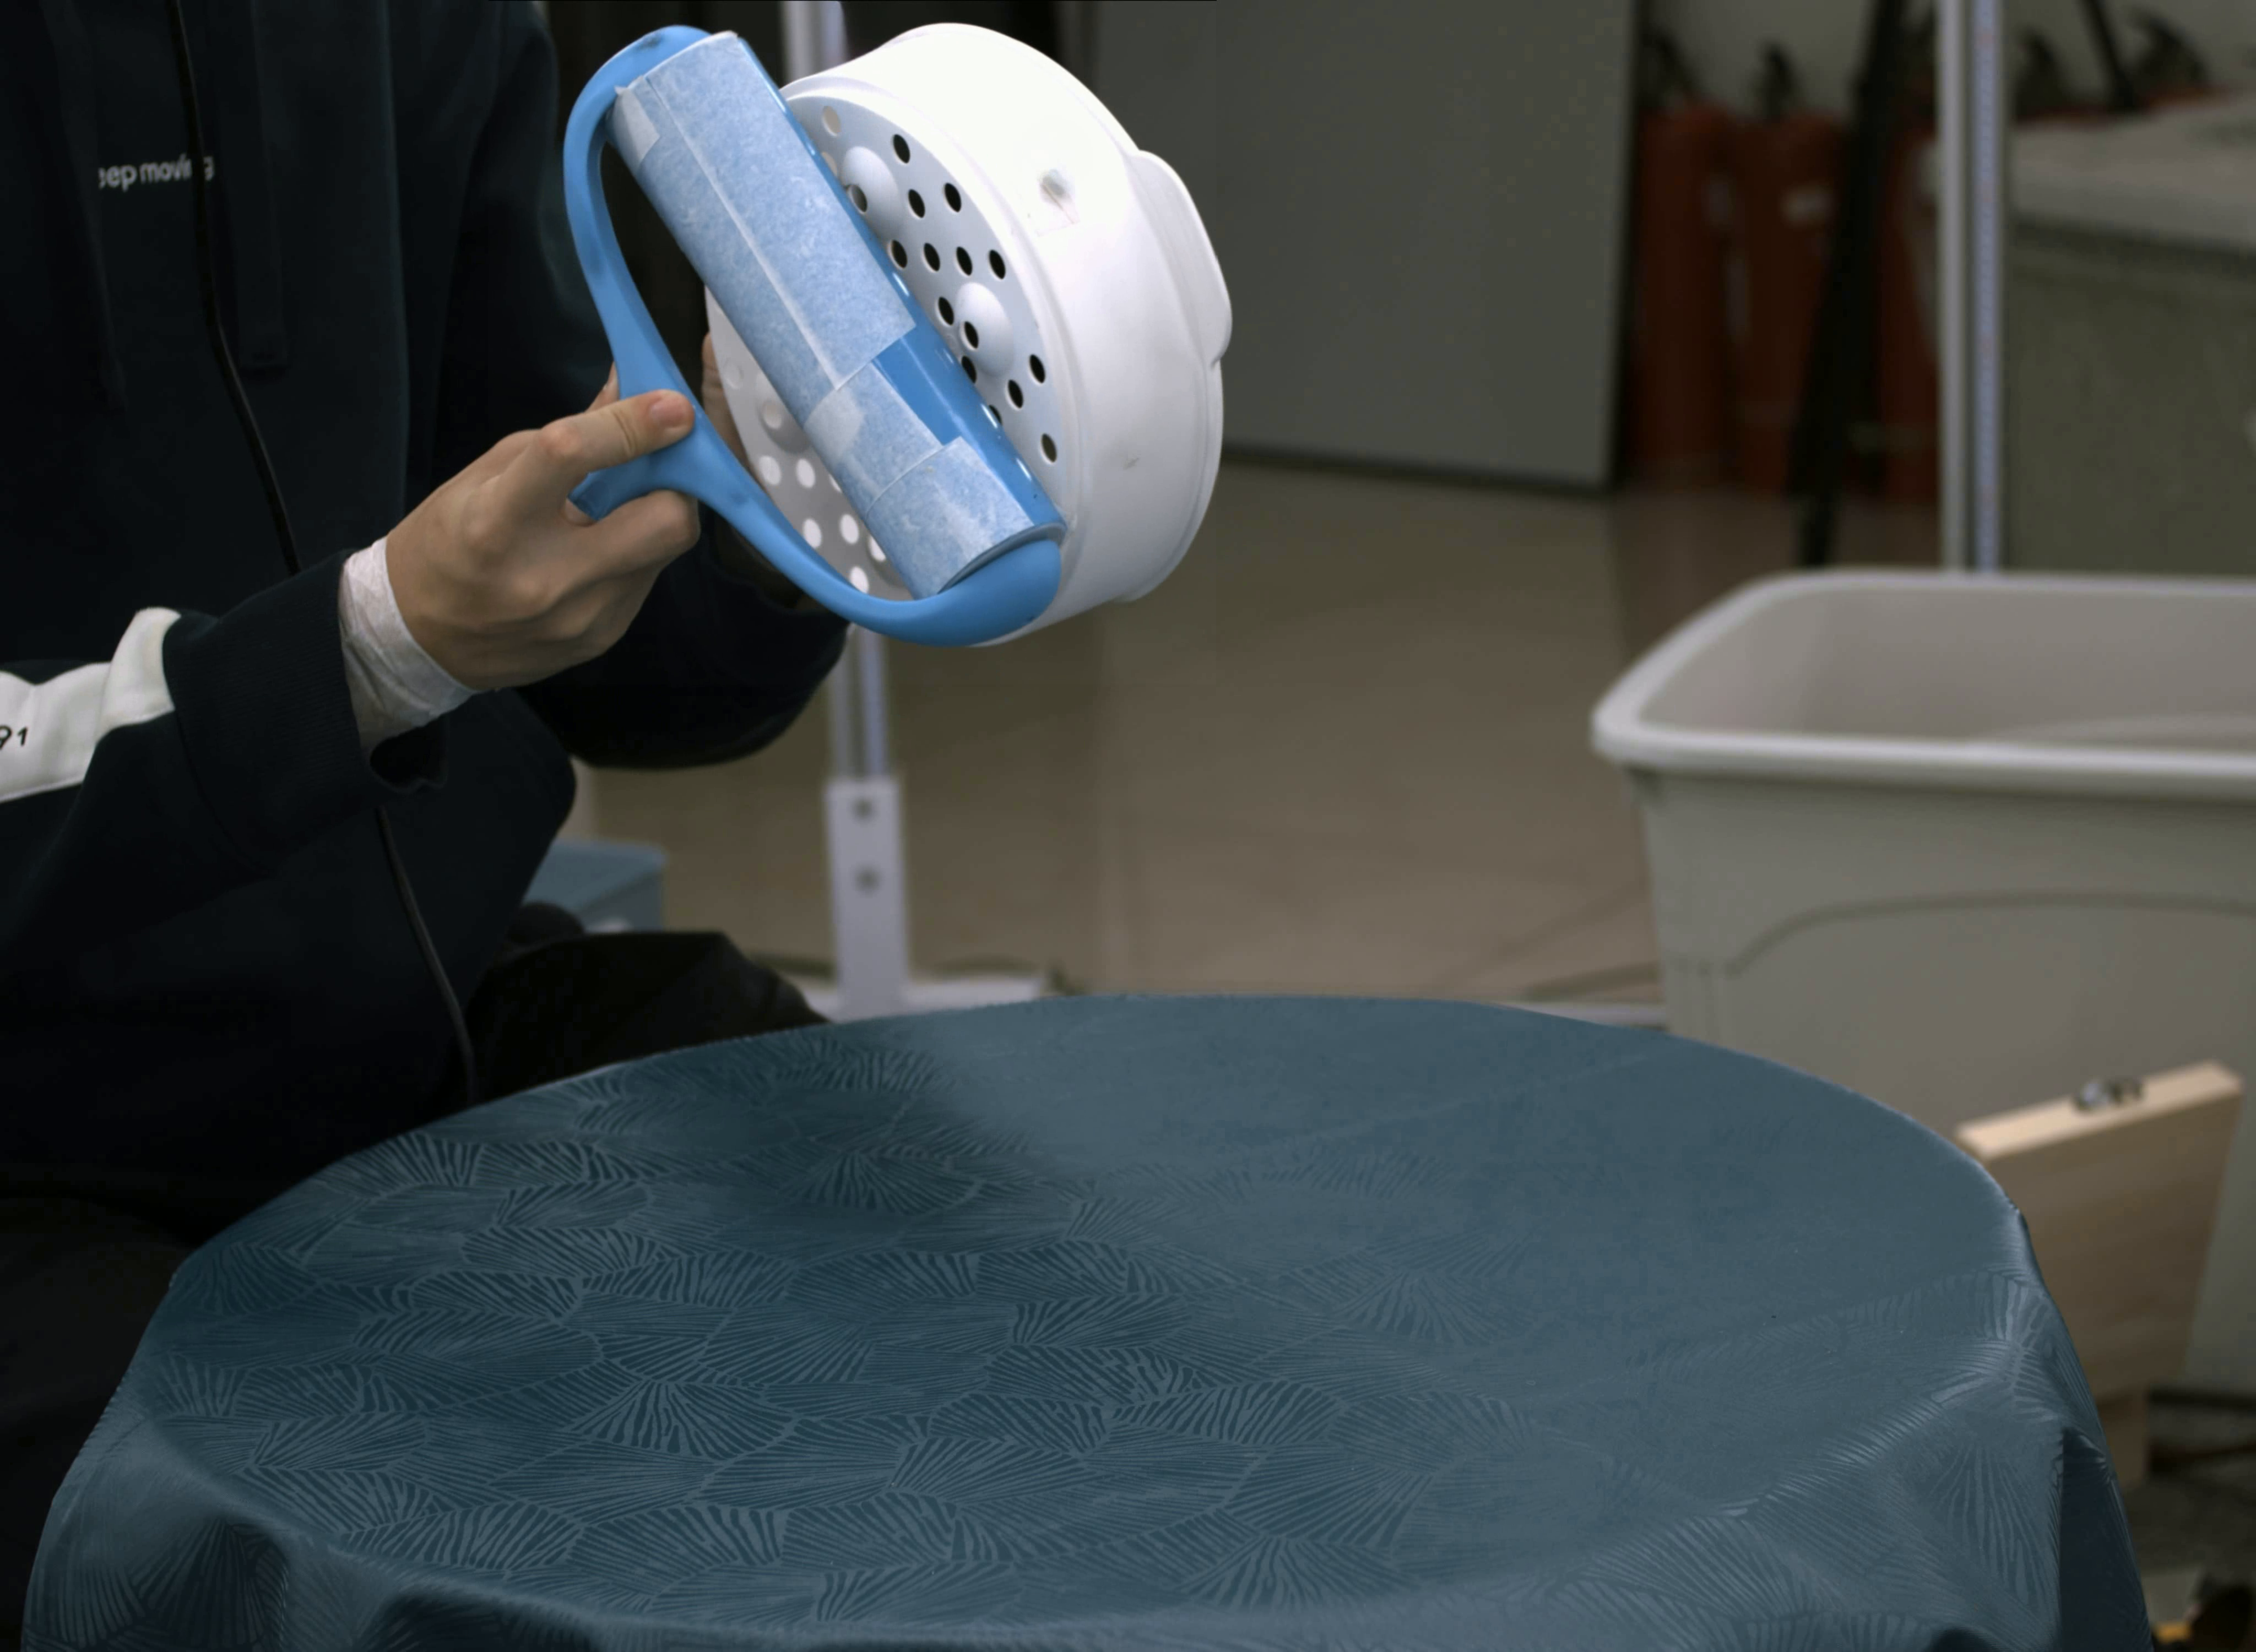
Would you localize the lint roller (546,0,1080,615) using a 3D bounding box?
[{"bbox_3d":[-0.131,-0.127,1.717,0.181,0.230,0.067,-43,-14,22],"label":"lint roller"}]

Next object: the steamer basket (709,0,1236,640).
[{"bbox_3d":[-0.057,-0.160,1.749,0.068,0.204,0.233,-21,3,-35],"label":"steamer basket"}]
